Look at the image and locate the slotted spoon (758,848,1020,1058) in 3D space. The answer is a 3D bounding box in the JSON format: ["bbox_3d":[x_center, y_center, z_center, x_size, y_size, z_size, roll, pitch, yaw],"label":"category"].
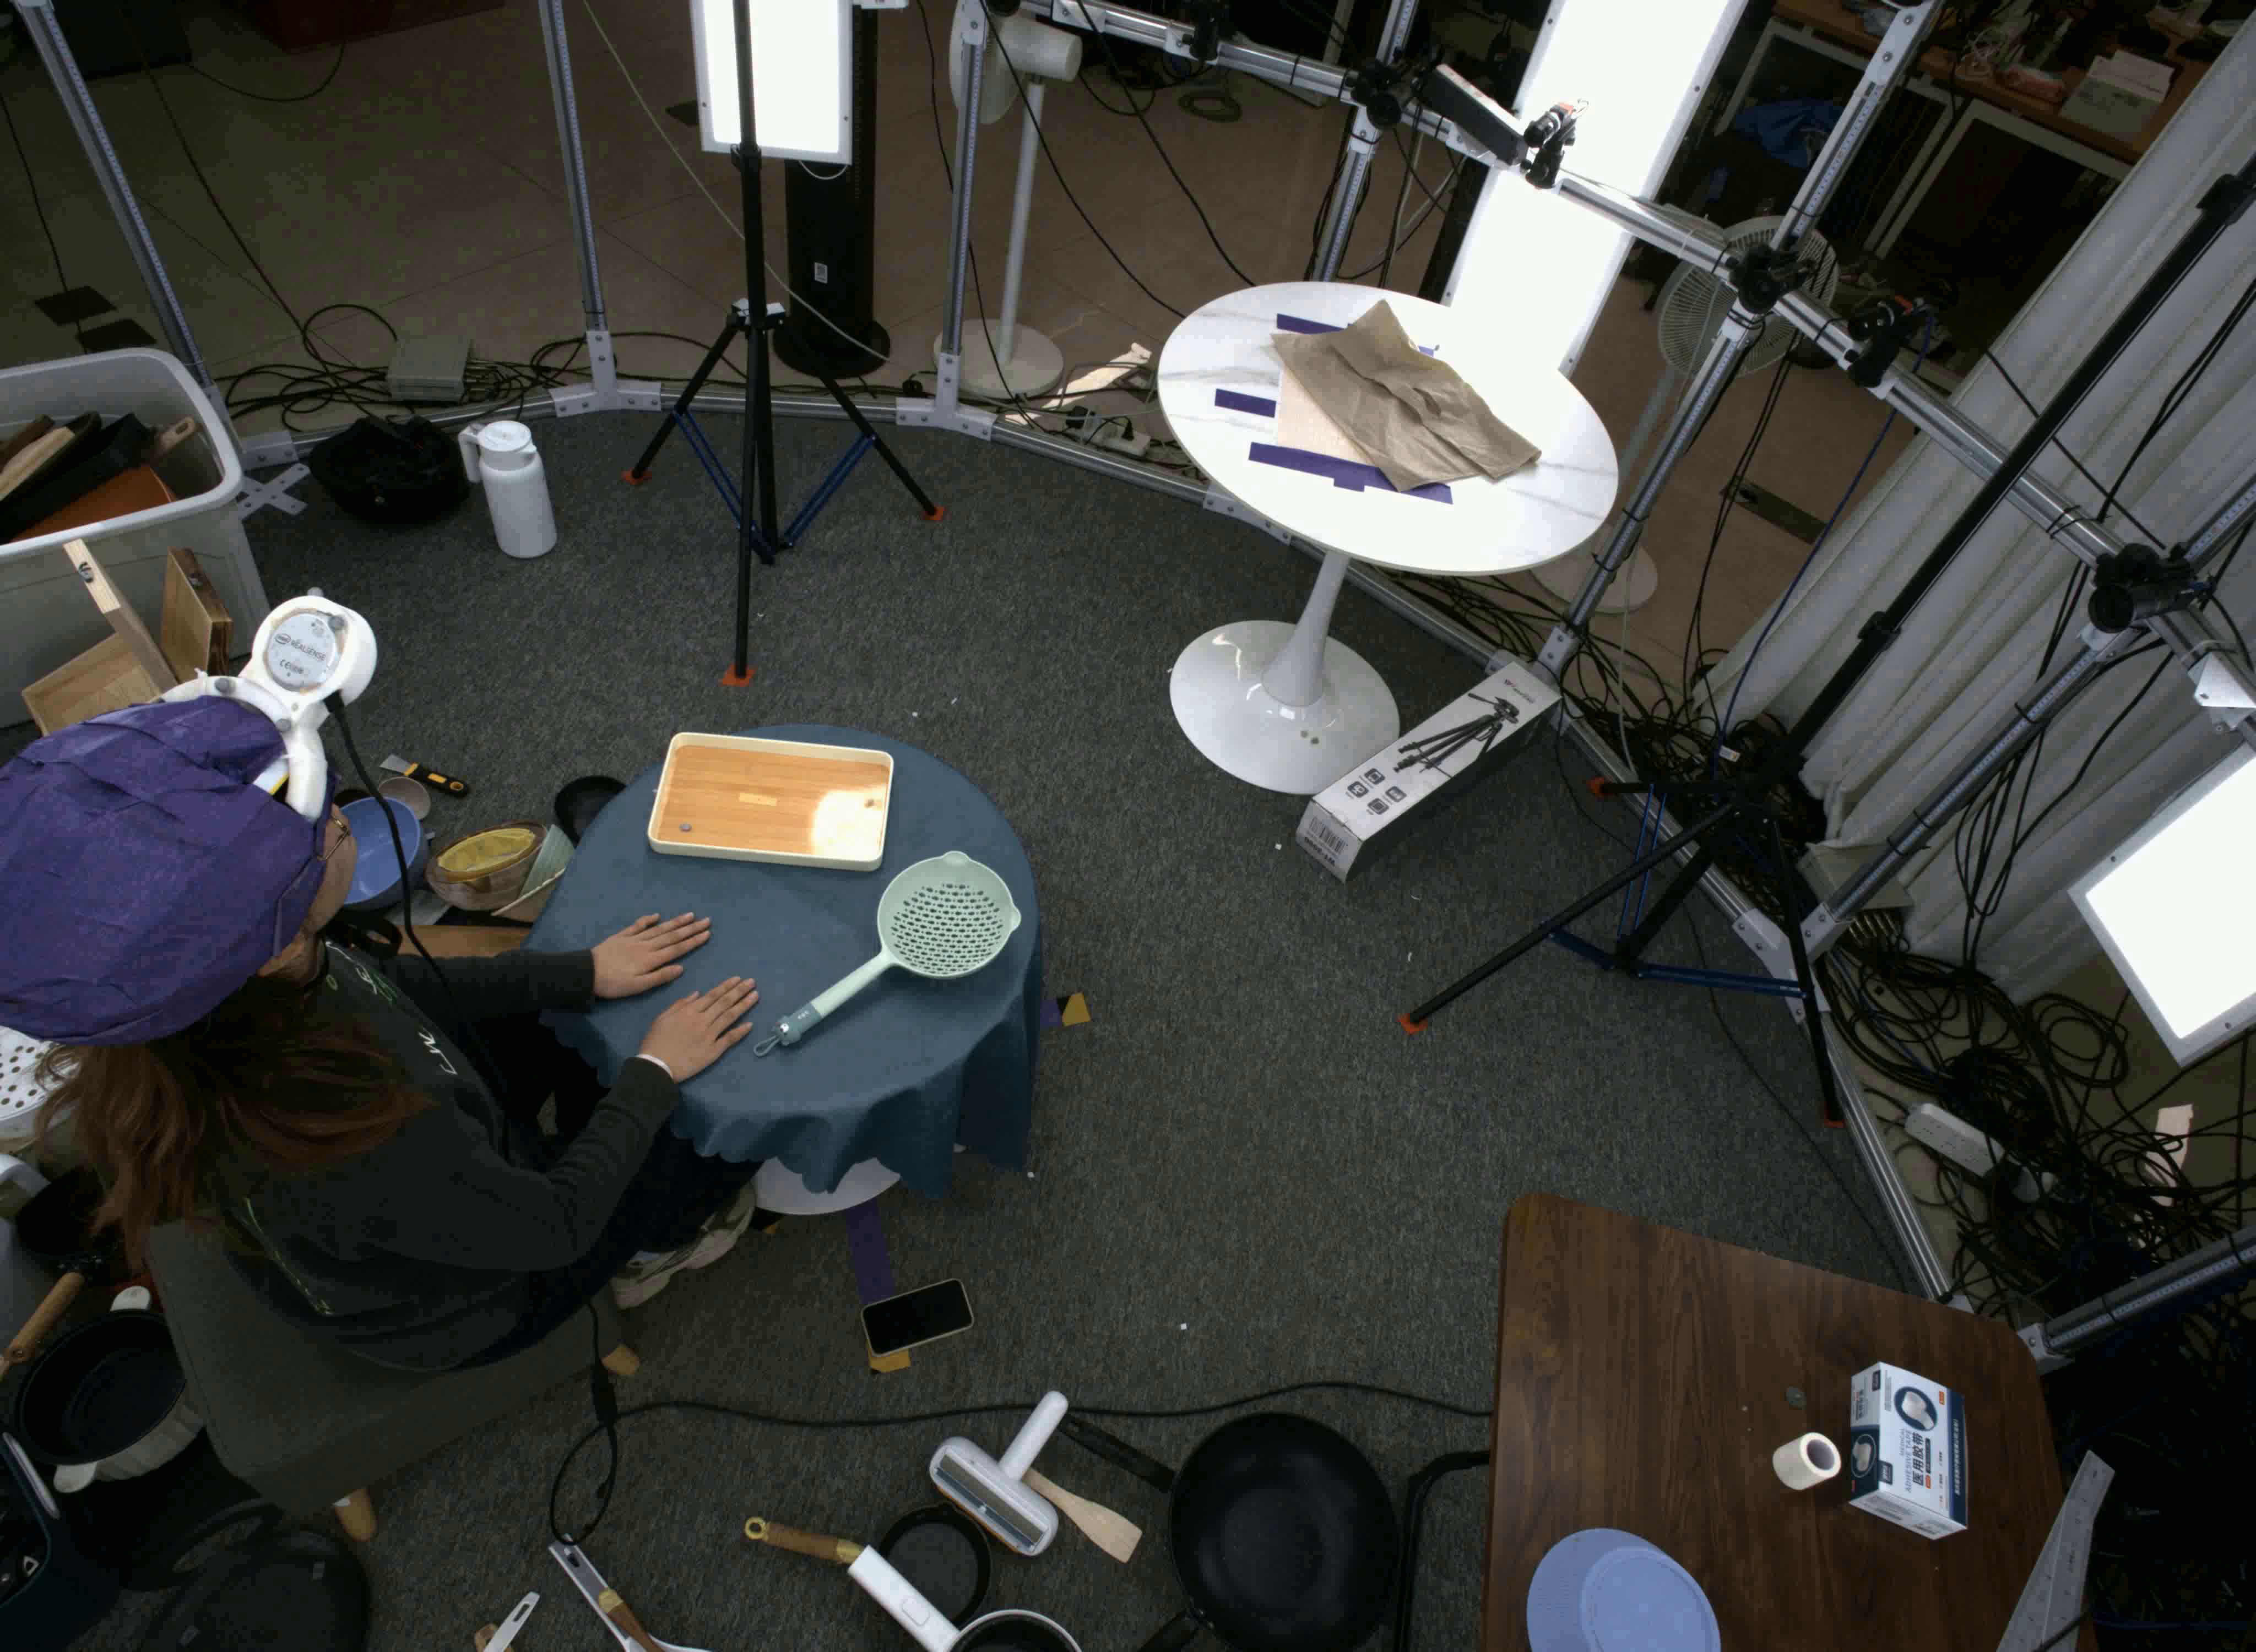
[{"bbox_3d":[-0.300,0.166,1.595,0.360,0.077,0.165,-32,66,-32],"label":"slotted spoon"}]

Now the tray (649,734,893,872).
[{"bbox_3d":[-0.471,-0.033,1.725,0.300,0.028,0.188,5,53,-10],"label":"tray"}]
